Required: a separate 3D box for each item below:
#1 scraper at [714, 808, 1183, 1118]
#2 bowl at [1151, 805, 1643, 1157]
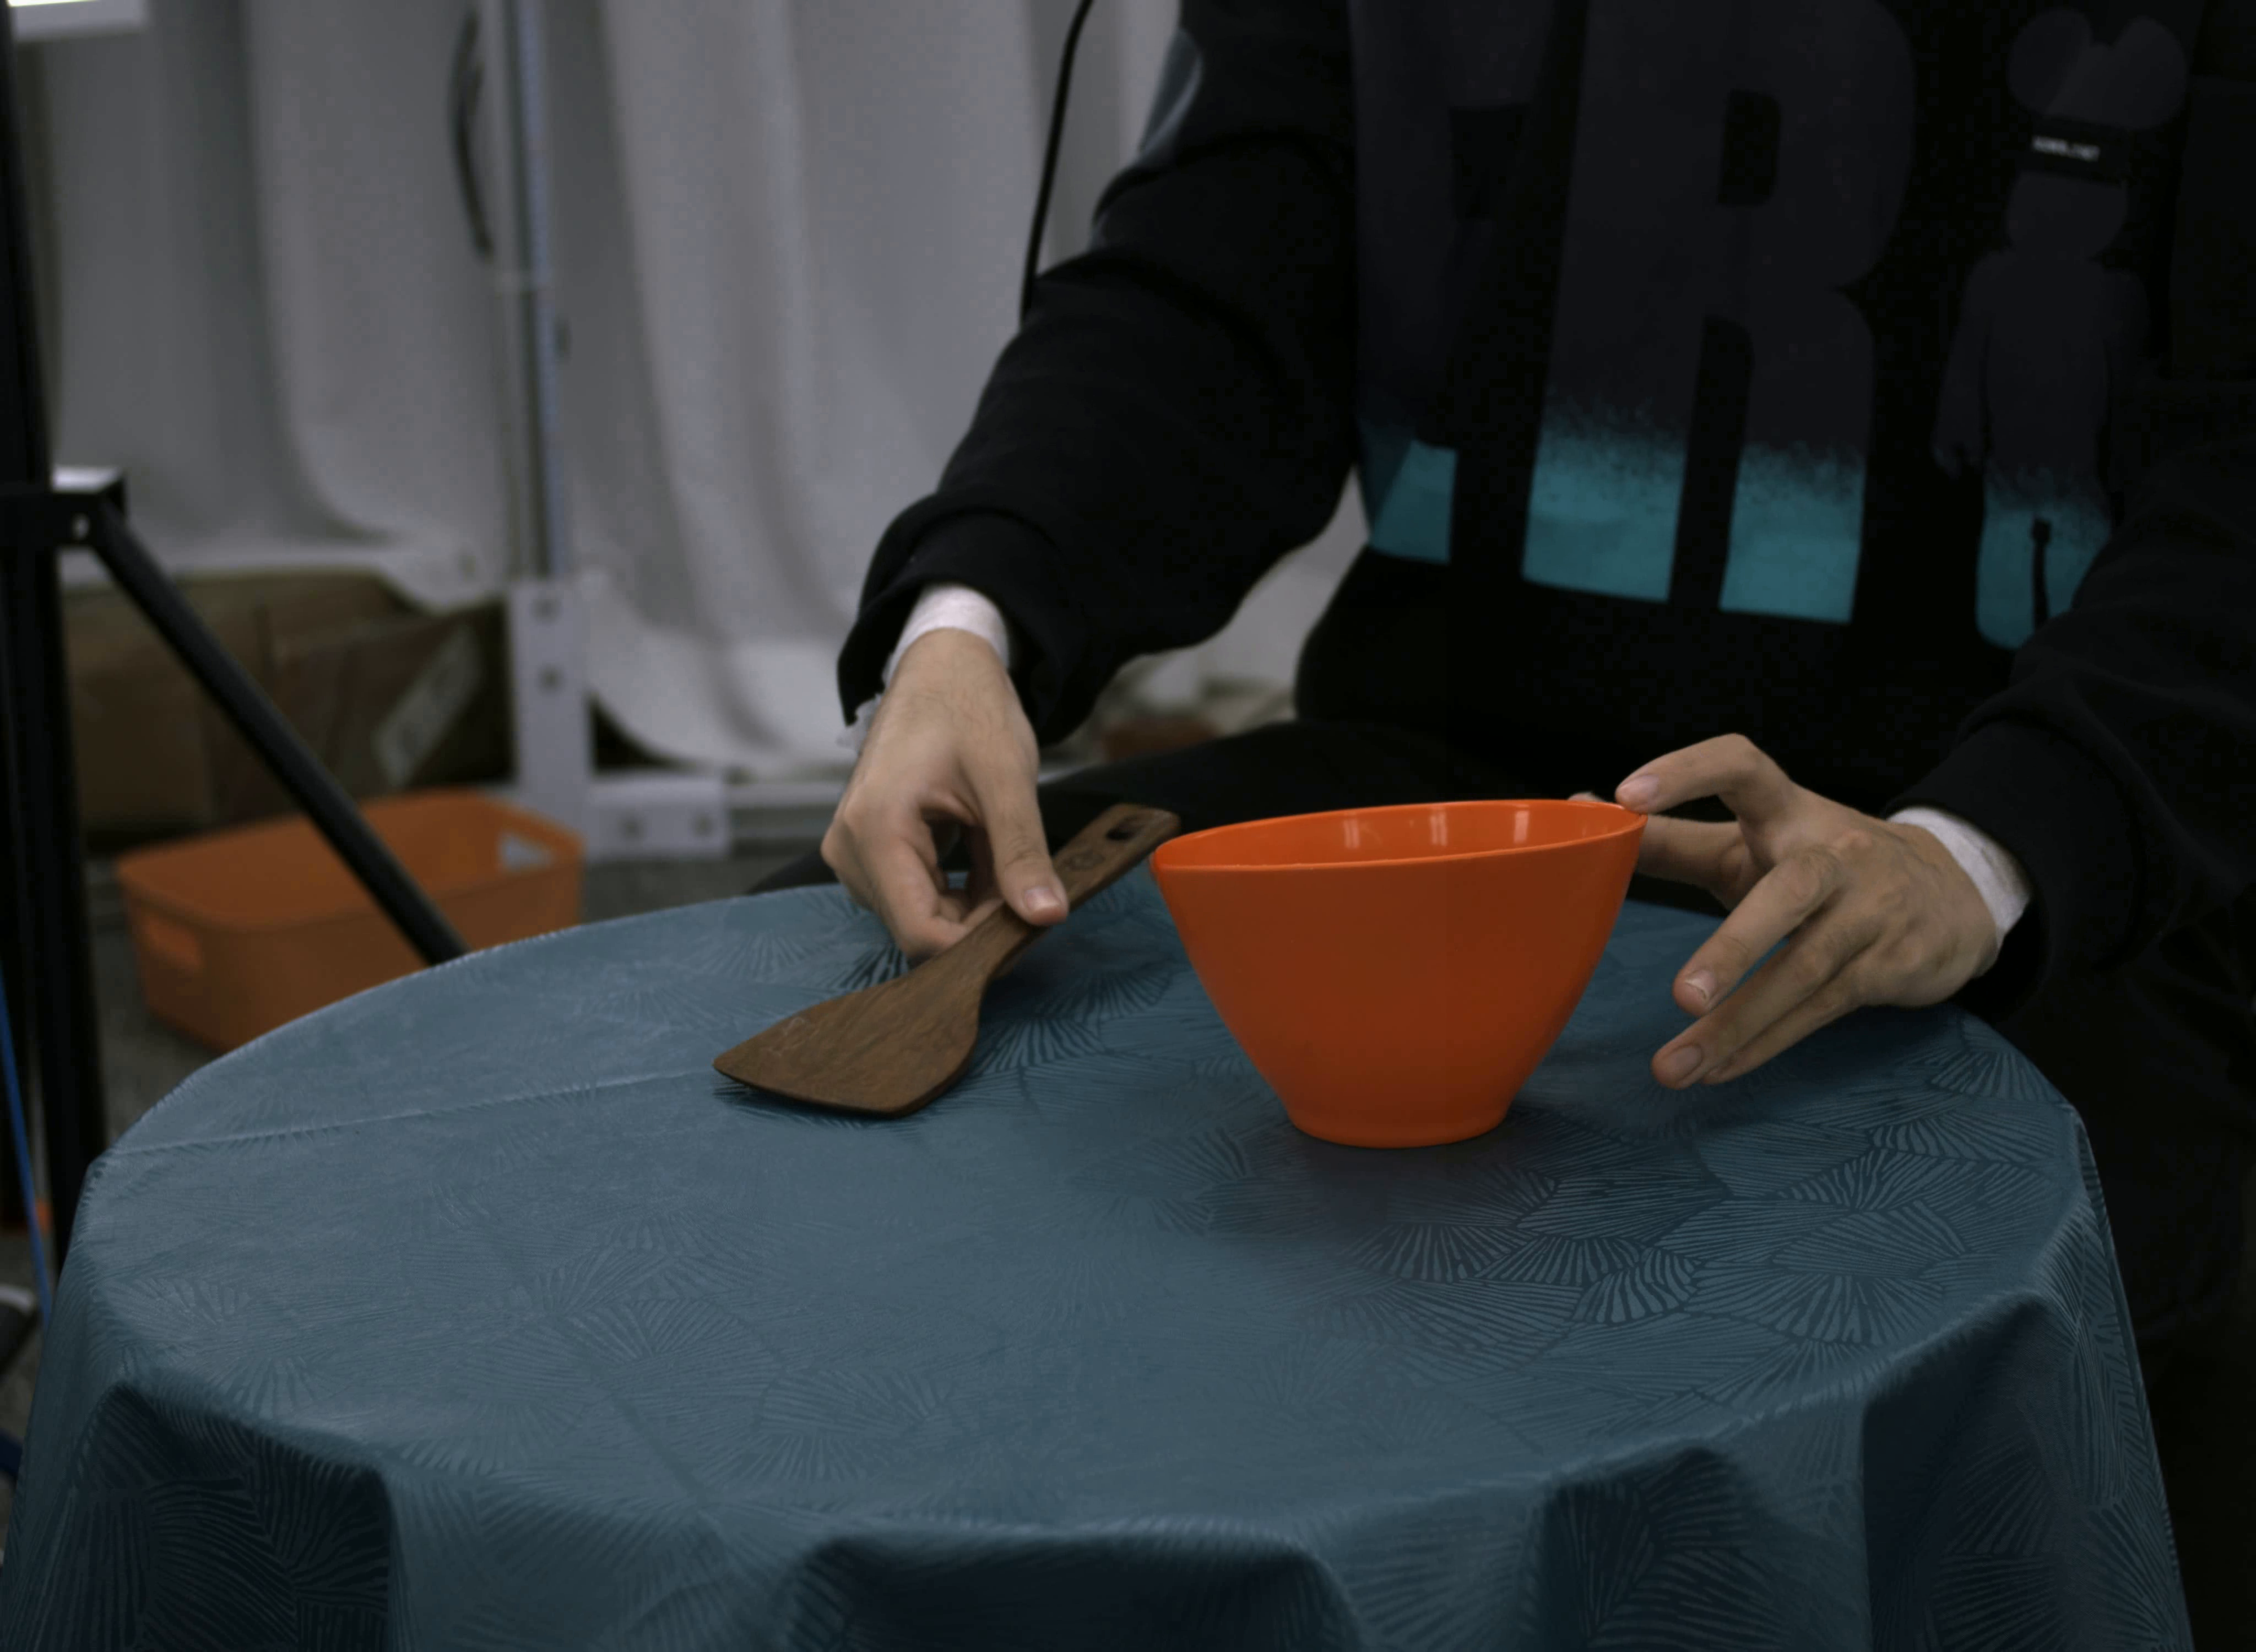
[{"bbox_3d":[-0.047,0.042,1.720,0.077,0.011,0.208,12,33,33],"label":"scraper"},{"bbox_3d":[0.082,0.044,1.591,0.147,0.104,0.149,-3,14,-1],"label":"bowl"}]
